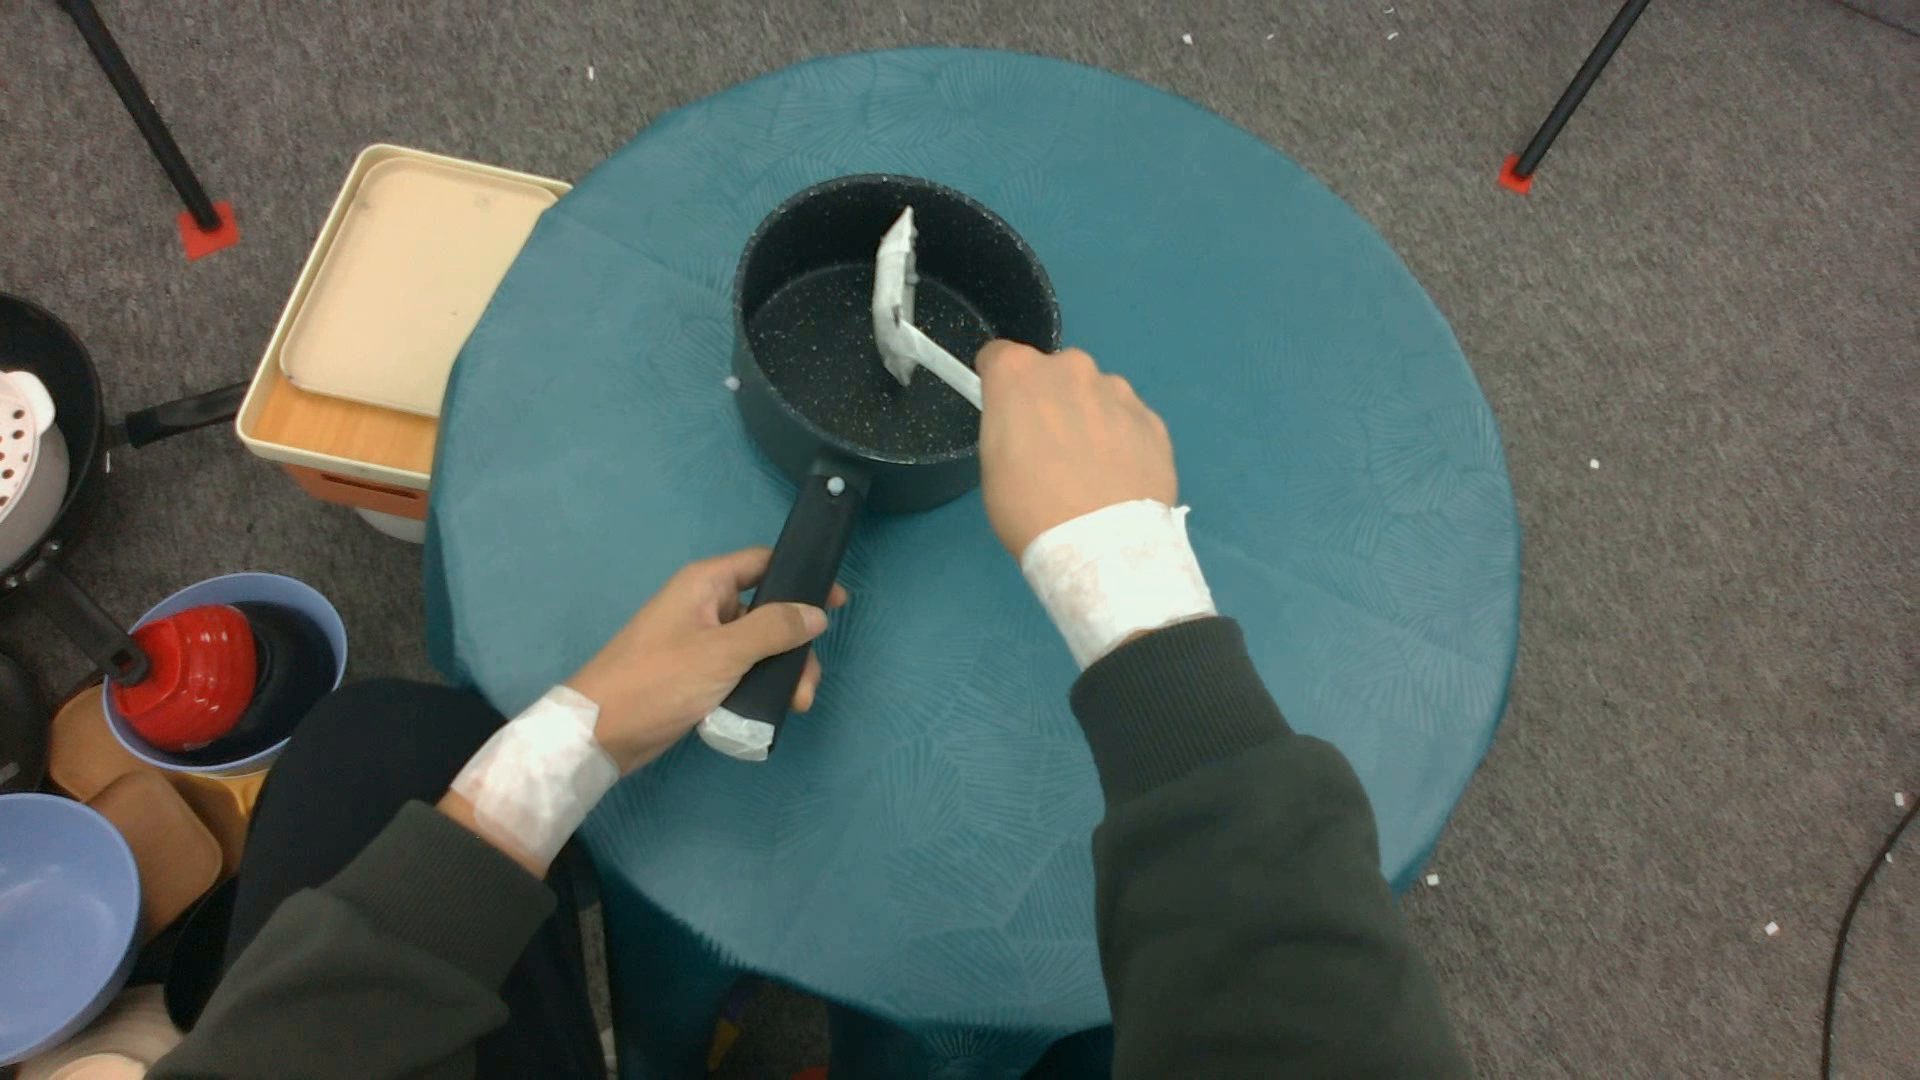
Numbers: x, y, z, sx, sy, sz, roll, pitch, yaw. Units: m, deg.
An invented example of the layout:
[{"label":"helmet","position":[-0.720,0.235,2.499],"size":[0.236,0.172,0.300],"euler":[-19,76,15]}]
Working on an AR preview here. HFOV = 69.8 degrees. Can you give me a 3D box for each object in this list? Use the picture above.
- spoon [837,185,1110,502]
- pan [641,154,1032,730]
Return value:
[{"label":"spoon","position":[0.007,-0.096,0.656],"size":[0.059,0.100,0.277],"euler":[-26,39,-21]},{"label":"pan","position":[-0.077,-0.047,0.695],"size":[0.172,0.086,0.330],"euler":[22,62,-3]}]
